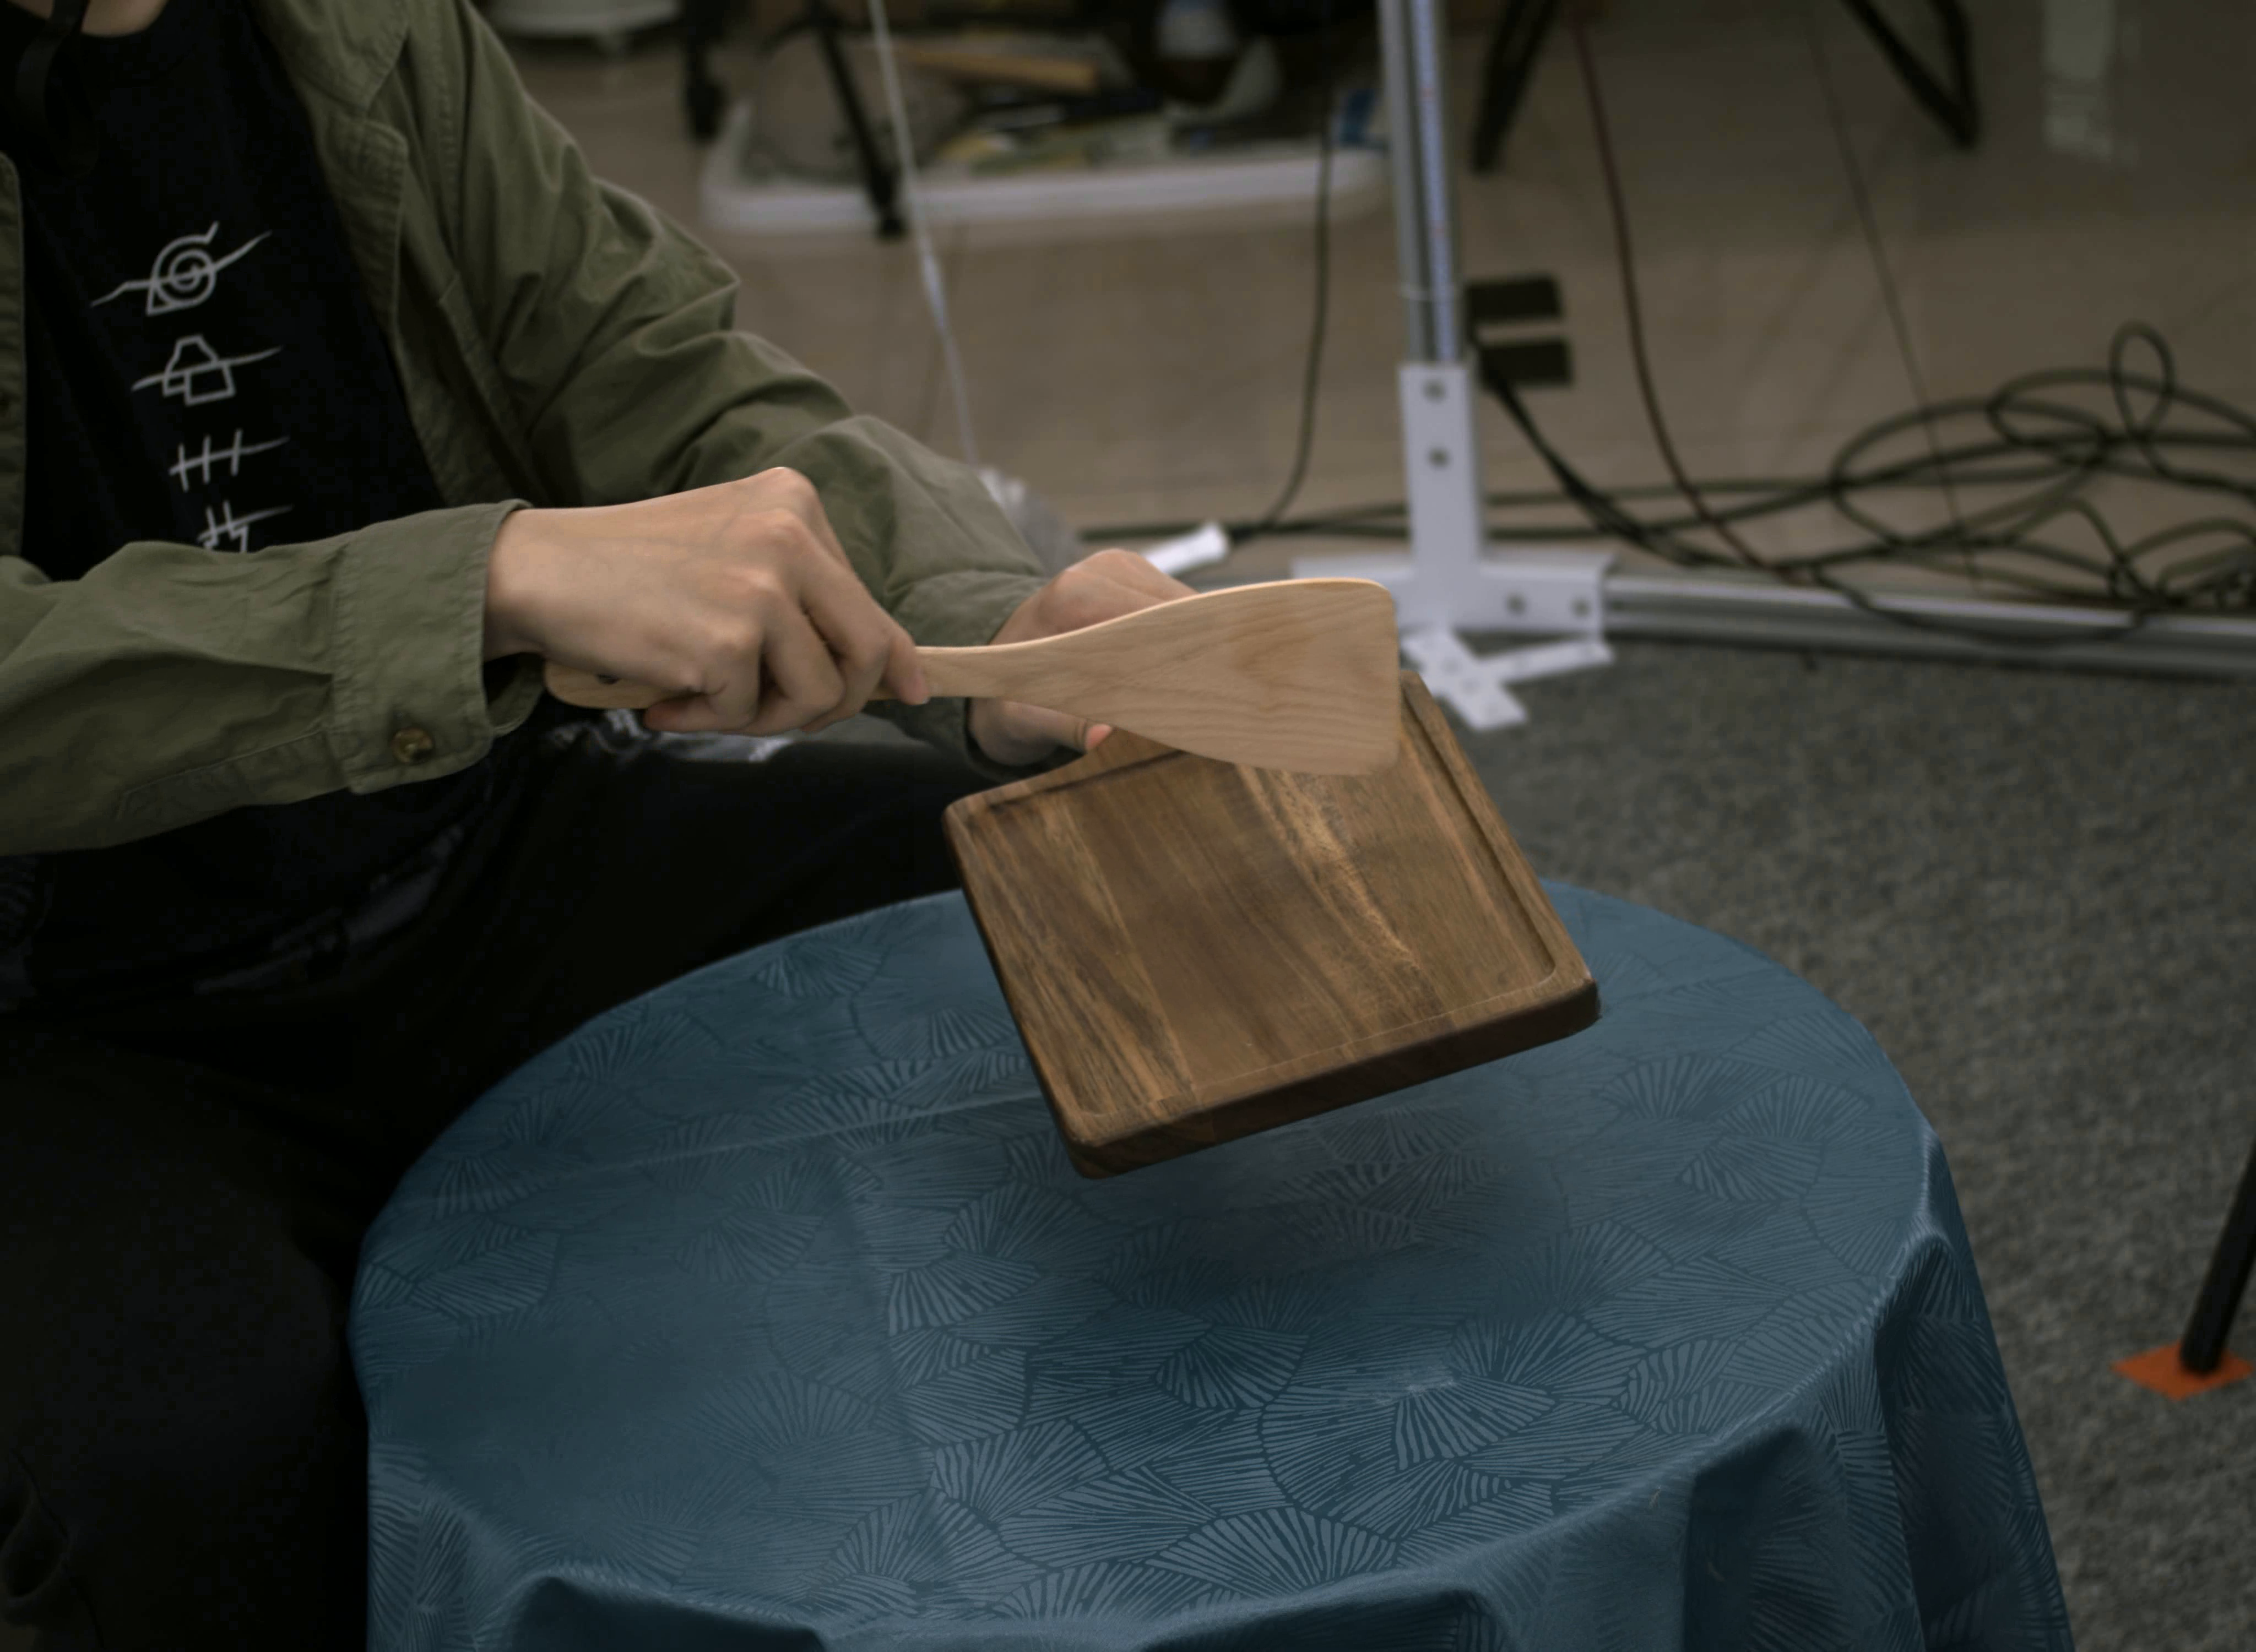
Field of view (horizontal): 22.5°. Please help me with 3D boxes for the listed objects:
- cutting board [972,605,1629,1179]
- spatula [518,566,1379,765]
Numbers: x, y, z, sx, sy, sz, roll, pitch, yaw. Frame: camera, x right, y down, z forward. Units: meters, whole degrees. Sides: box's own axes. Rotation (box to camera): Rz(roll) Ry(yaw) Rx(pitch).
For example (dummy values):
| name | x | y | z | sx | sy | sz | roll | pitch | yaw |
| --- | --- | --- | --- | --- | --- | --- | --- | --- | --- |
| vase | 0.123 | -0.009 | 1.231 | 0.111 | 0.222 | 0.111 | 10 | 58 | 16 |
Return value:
| name | x | y | z | sx | sy | sz | roll | pitch | yaw |
| --- | --- | --- | --- | --- | --- | --- | --- | --- | --- |
| cutting board | 0.049 | 0.006 | 2.148 | 0.200 | 0.023 | 0.346 | -16 | 33 | -3 |
| spatula | -0.060 | -0.056 | 2.052 | 0.327 | 0.081 | 0.016 | -2 | 27 | -19 |
